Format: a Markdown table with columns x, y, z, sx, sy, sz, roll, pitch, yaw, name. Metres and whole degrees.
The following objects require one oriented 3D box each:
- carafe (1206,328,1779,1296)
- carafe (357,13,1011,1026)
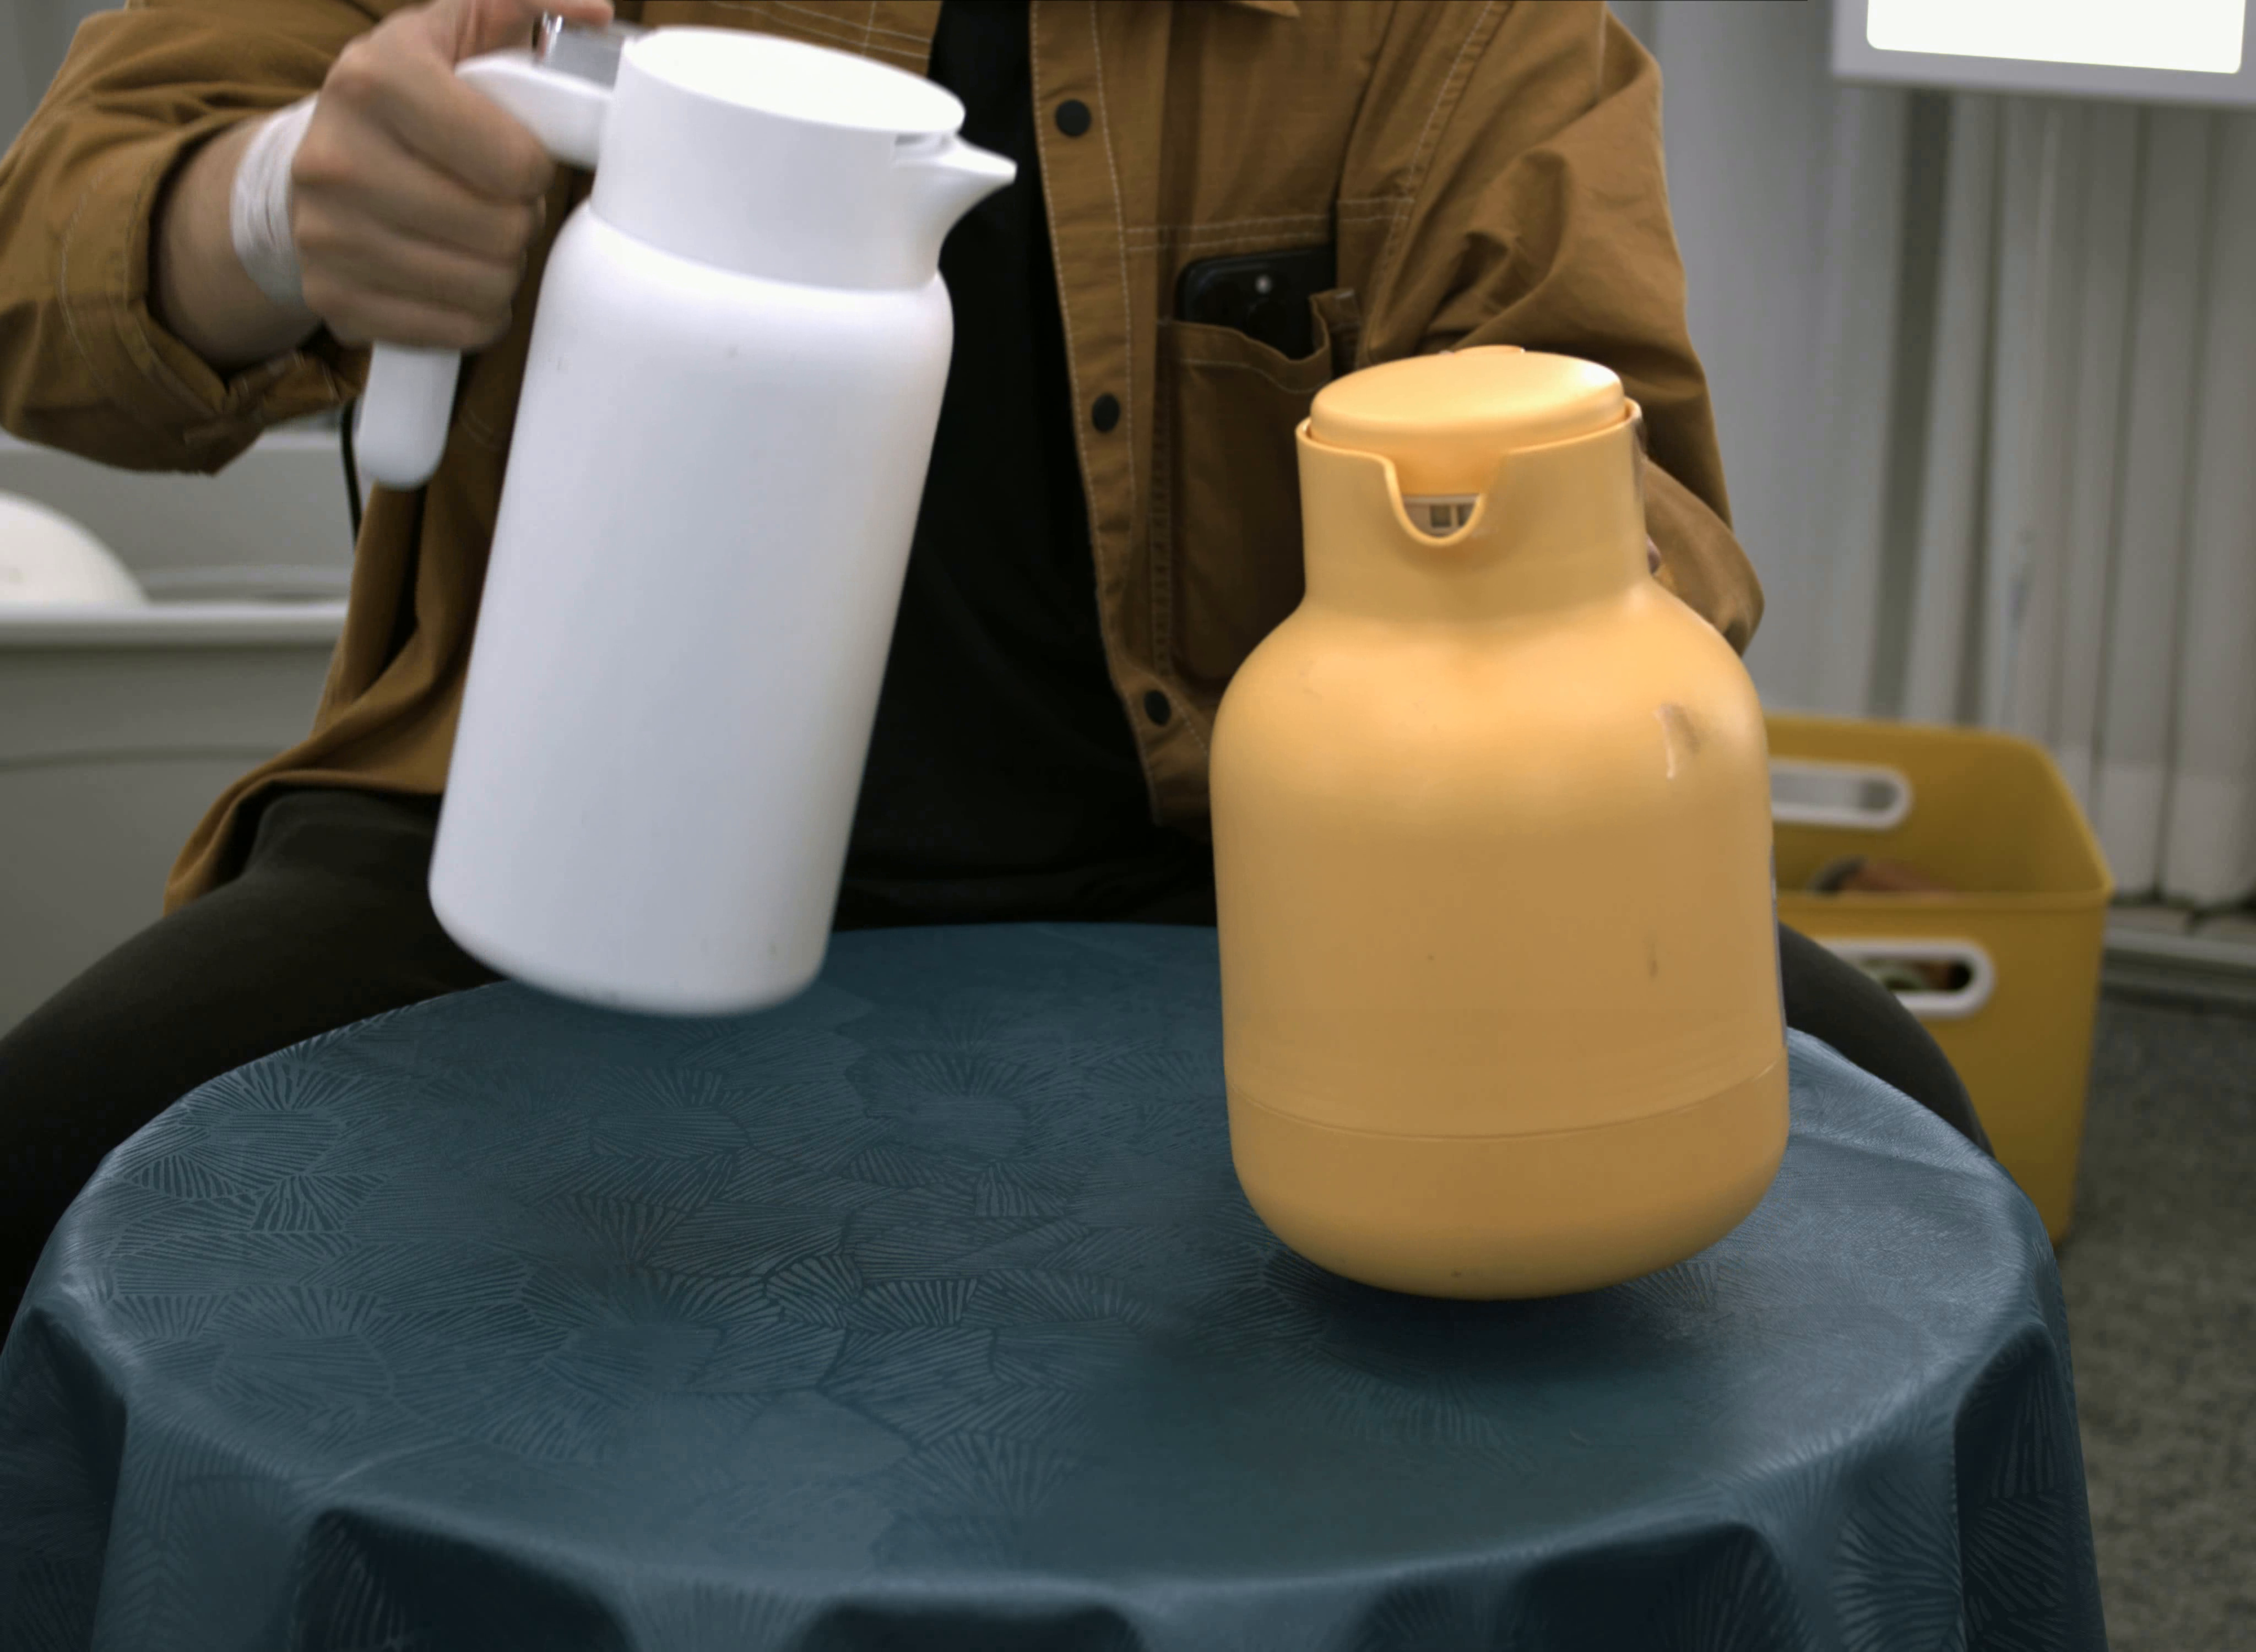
| x | y | z | sx | sy | sz | roll | pitch | yaw | name |
| --- | --- | --- | --- | --- | --- | --- | --- | --- | --- |
| 0.108 | -0.012 | 1.520 | 0.162 | 0.263 | 0.202 | 2 | 19 | 12 | carafe |
| -0.136 | -0.089 | 1.493 | 0.171 | 0.271 | 0.124 | 16 | 21 | 12 | carafe |
